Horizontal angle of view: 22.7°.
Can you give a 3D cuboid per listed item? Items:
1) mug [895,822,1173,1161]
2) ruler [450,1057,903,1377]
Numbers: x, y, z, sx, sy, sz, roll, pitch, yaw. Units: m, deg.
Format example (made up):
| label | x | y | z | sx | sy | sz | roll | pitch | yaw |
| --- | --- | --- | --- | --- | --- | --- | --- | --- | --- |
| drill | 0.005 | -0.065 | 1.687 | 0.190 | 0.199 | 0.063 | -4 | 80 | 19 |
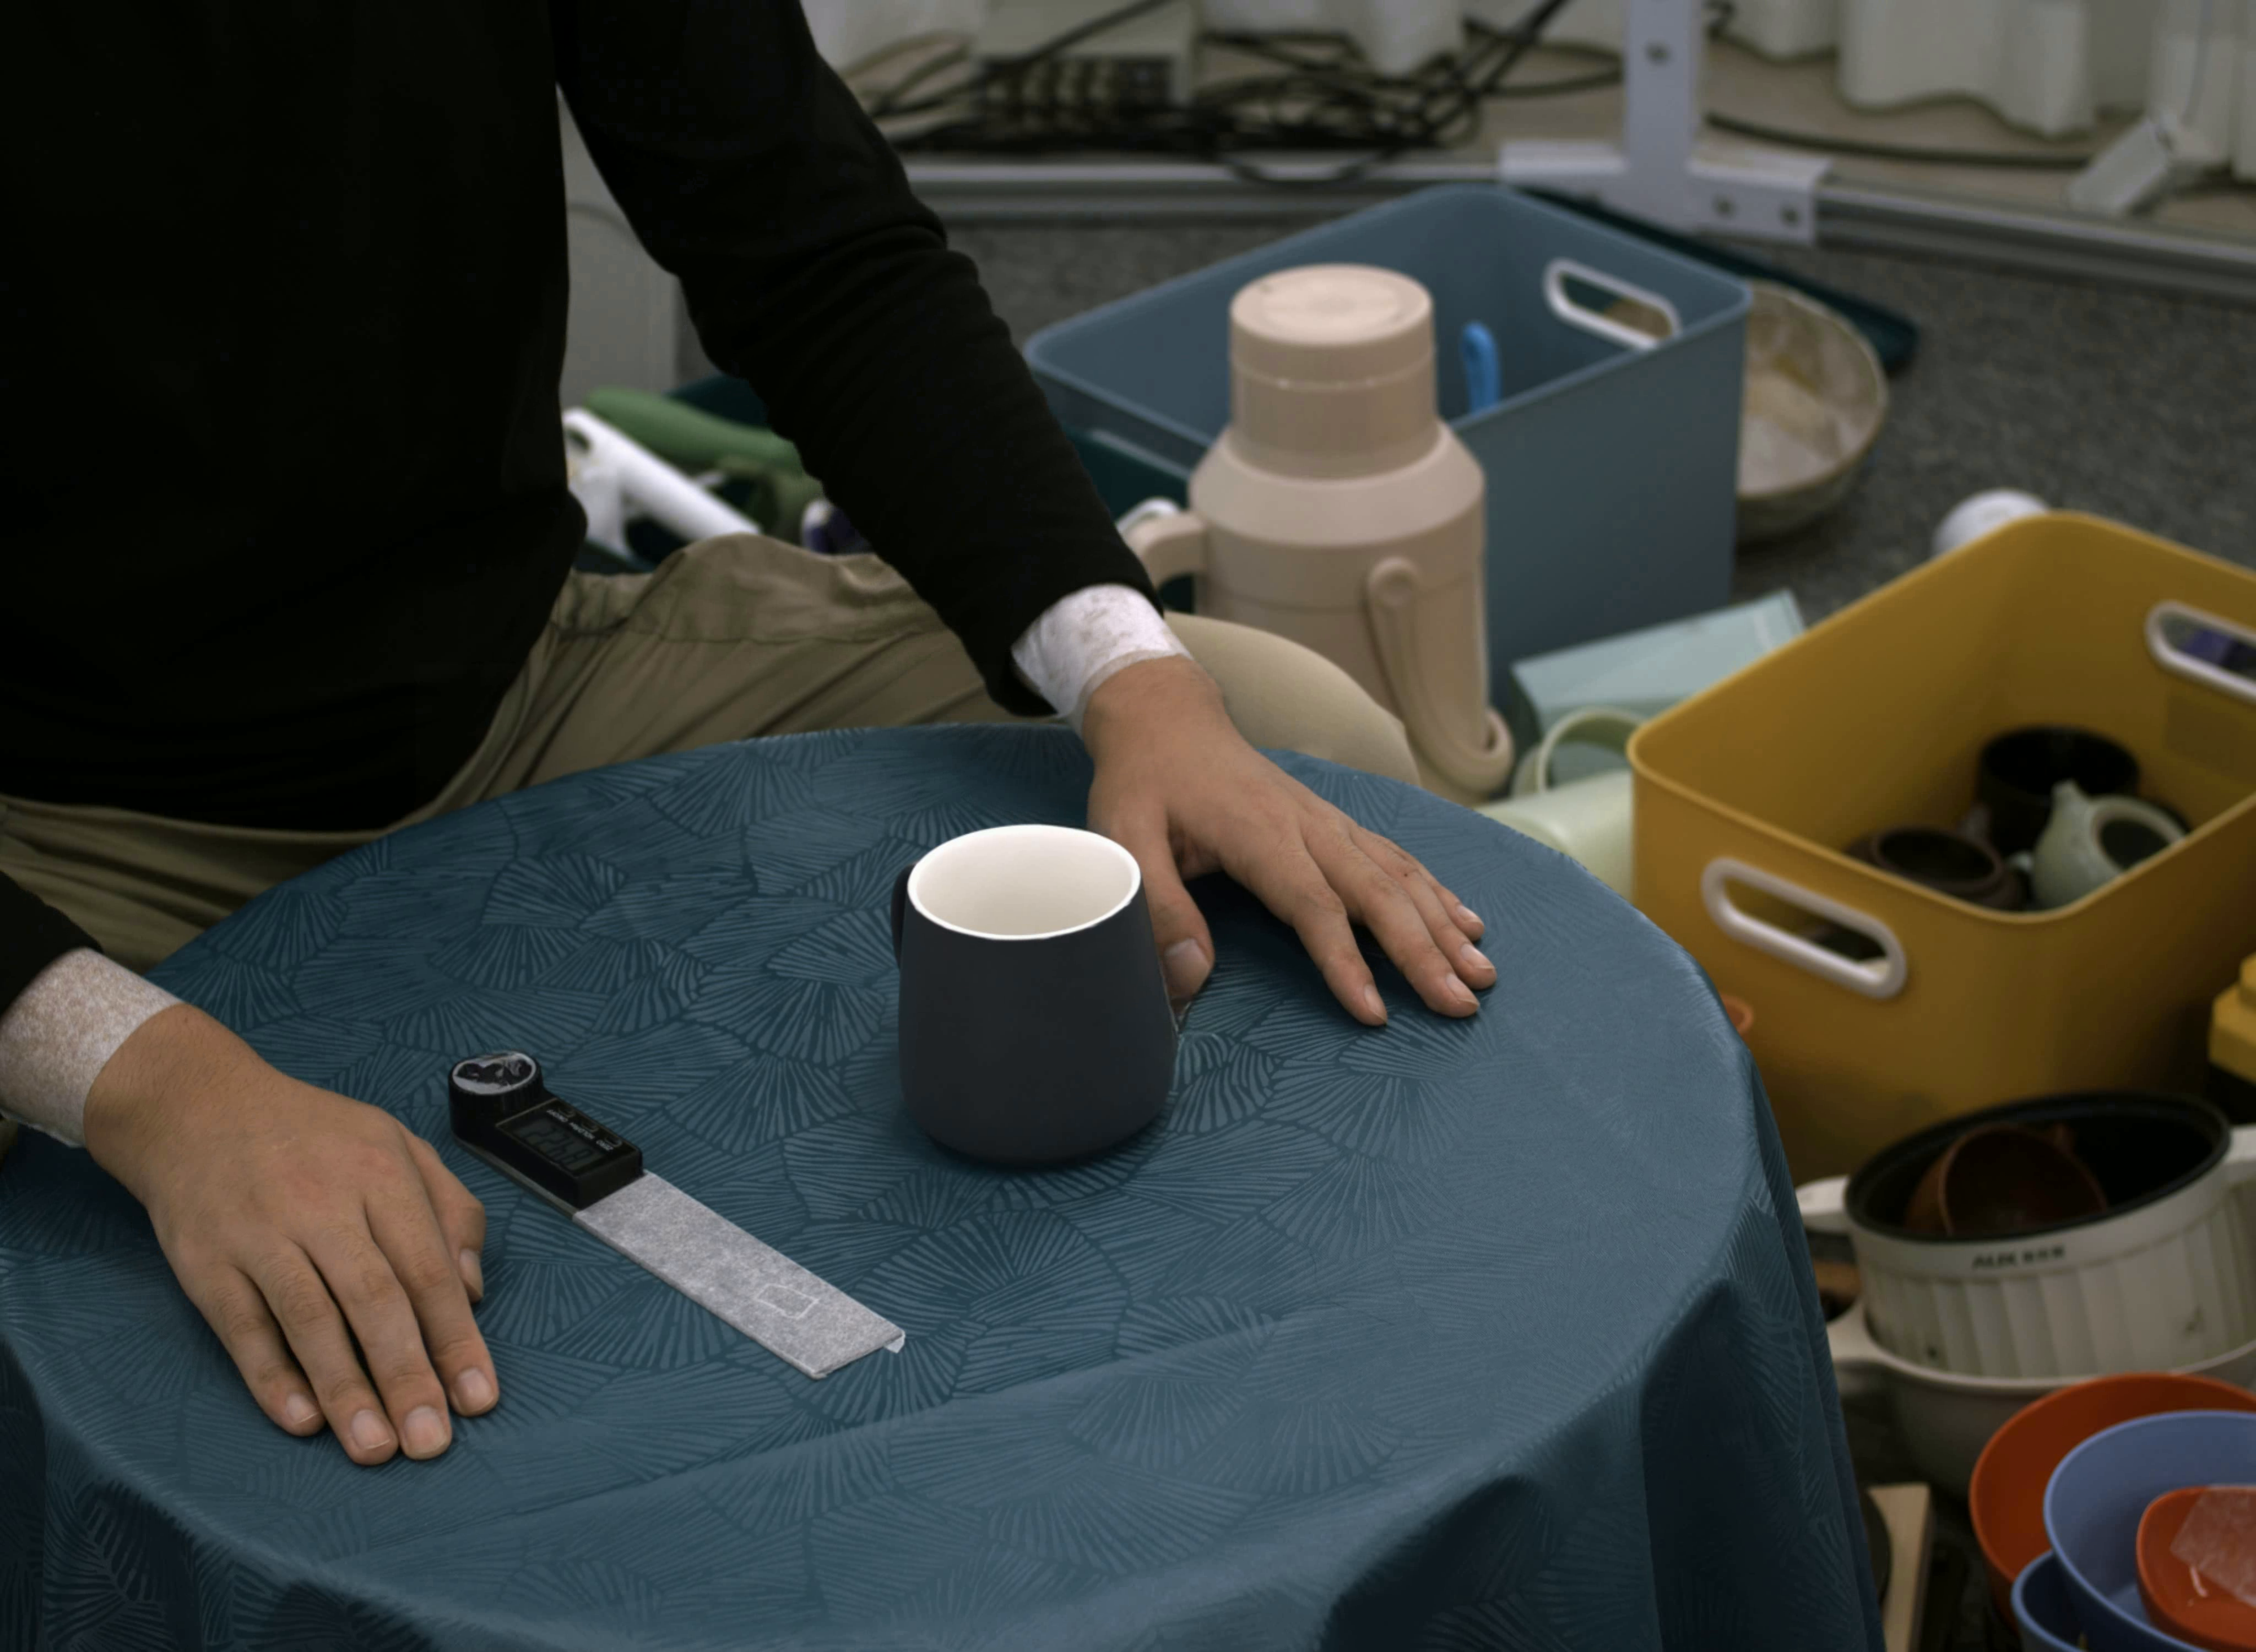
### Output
| label | x | y | z | sx | sy | sz | roll | pitch | yaw |
| --- | --- | --- | --- | --- | --- | --- | --- | --- | --- |
| mug | -0.040 | 0.051 | 1.902 | 0.094 | 0.089 | 0.123 | -19 | 32 | -30 |
| ruler | -0.155 | 0.125 | 1.846 | 0.039 | 0.024 | 0.218 | -30 | 36 | -30 |
